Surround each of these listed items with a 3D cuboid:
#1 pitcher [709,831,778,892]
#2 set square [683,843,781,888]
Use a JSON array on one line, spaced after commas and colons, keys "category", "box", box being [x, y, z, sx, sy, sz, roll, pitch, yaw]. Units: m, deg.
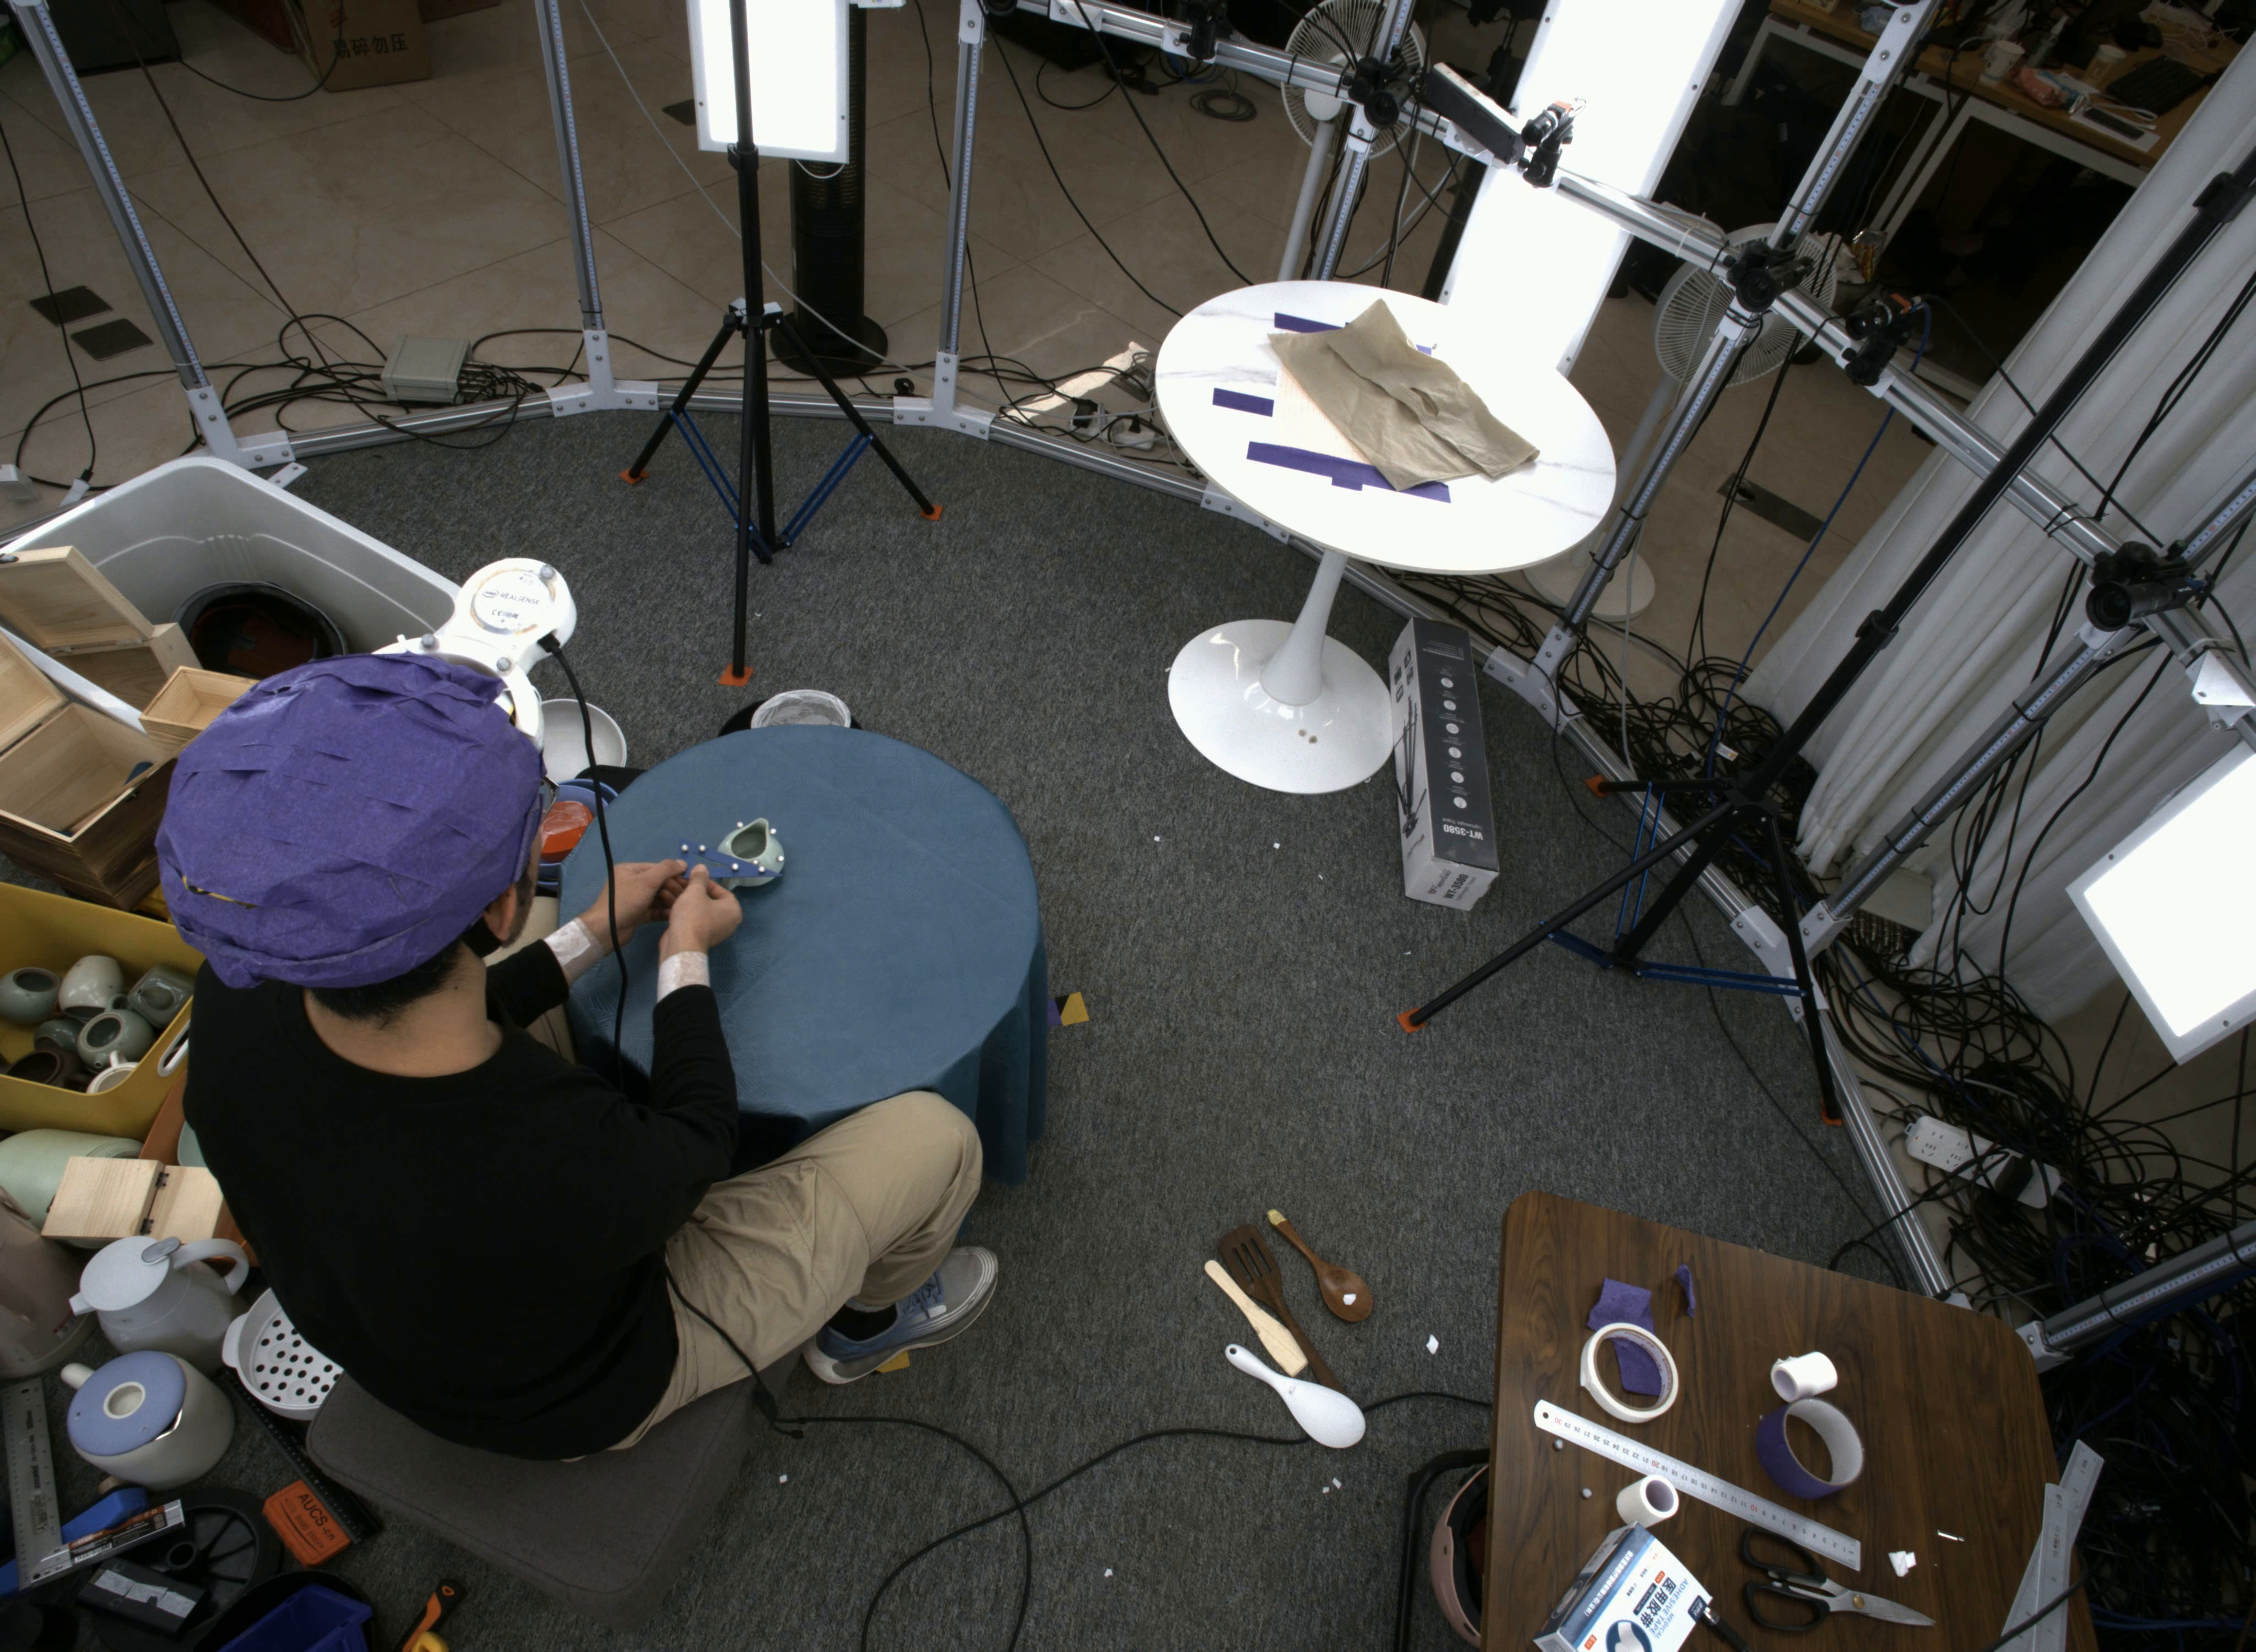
[{"category": "pitcher", "box": [-0.488, 0.046, 1.623, 0.085, 0.061, 0.108, 40, 36, 5]}, {"category": "set square", "box": [-0.489, 0.059, 1.559, 0.131, 0.007, 0.060, 22, 39, -1]}]
